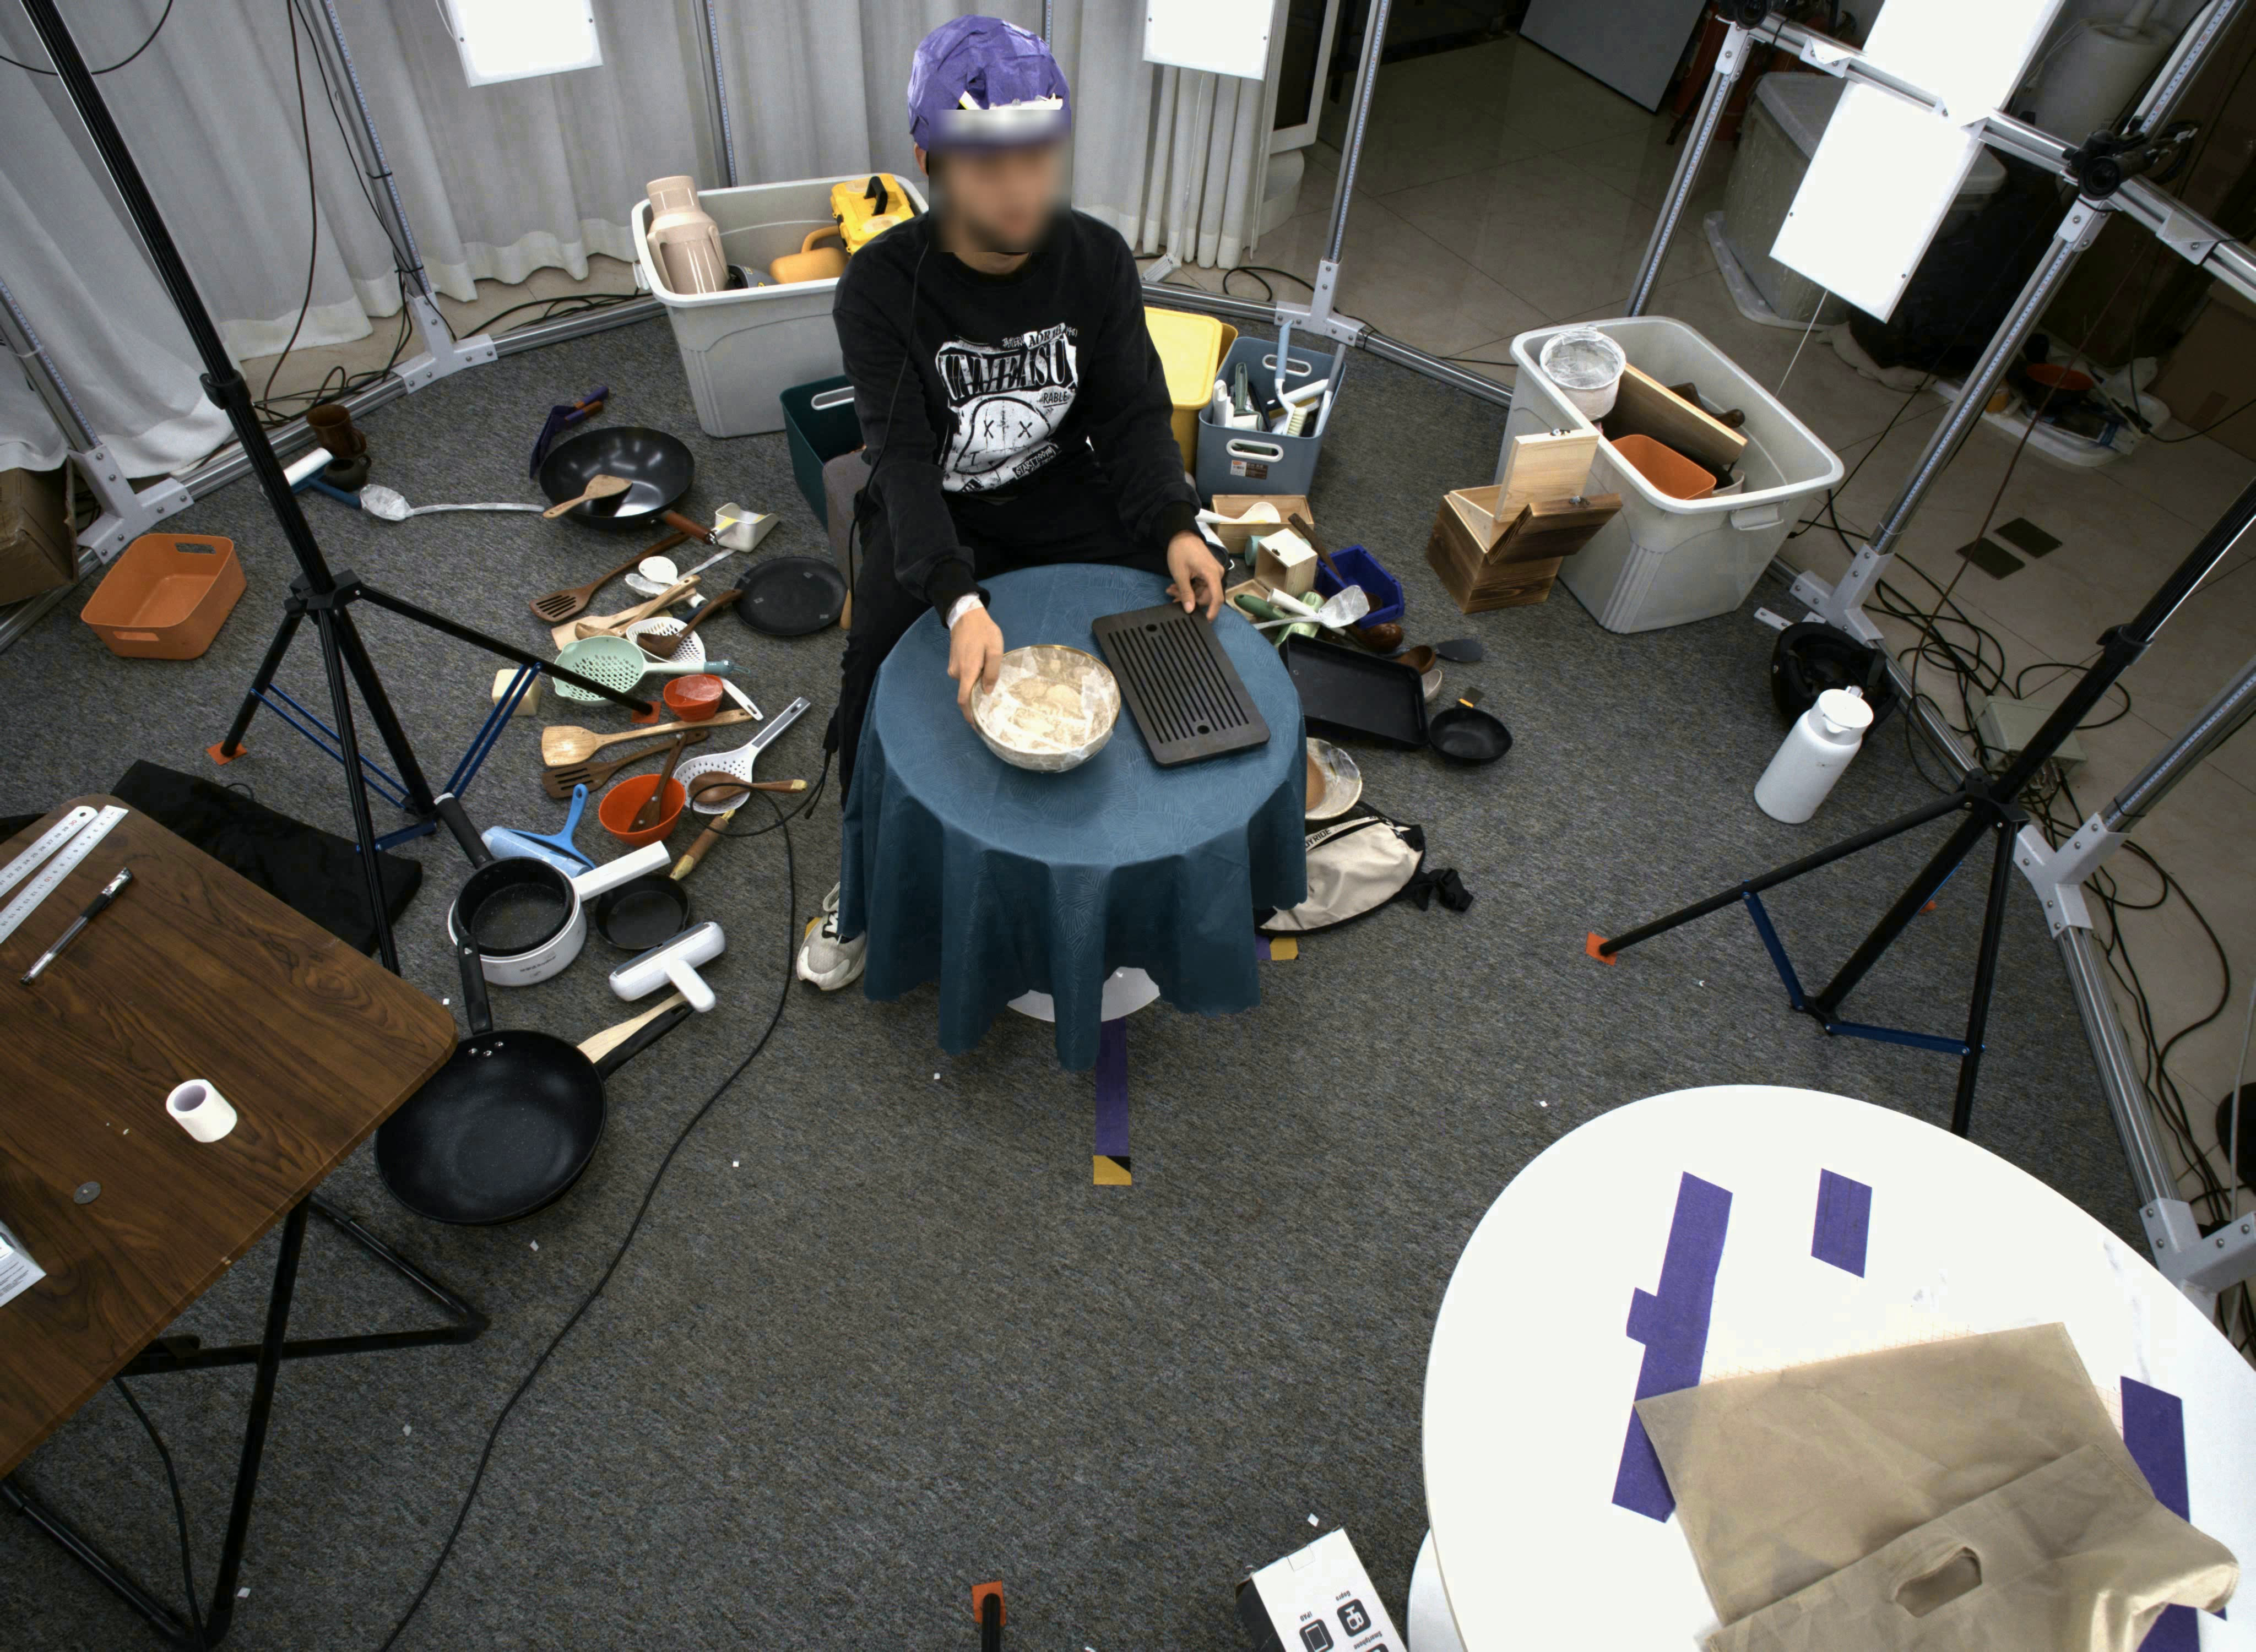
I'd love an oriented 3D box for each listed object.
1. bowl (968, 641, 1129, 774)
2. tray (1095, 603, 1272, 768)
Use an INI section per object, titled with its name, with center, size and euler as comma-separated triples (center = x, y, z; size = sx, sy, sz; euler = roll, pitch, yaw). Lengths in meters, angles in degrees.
[bowl]
center = -0.107, -0.146, 1.742
size = 0.214, 0.092, 0.220
euler = 0, 51, 0
[tray]
center = 0.075, -0.208, 1.857
size = 0.170, 0.018, 0.313
euler = -13, 51, -13
